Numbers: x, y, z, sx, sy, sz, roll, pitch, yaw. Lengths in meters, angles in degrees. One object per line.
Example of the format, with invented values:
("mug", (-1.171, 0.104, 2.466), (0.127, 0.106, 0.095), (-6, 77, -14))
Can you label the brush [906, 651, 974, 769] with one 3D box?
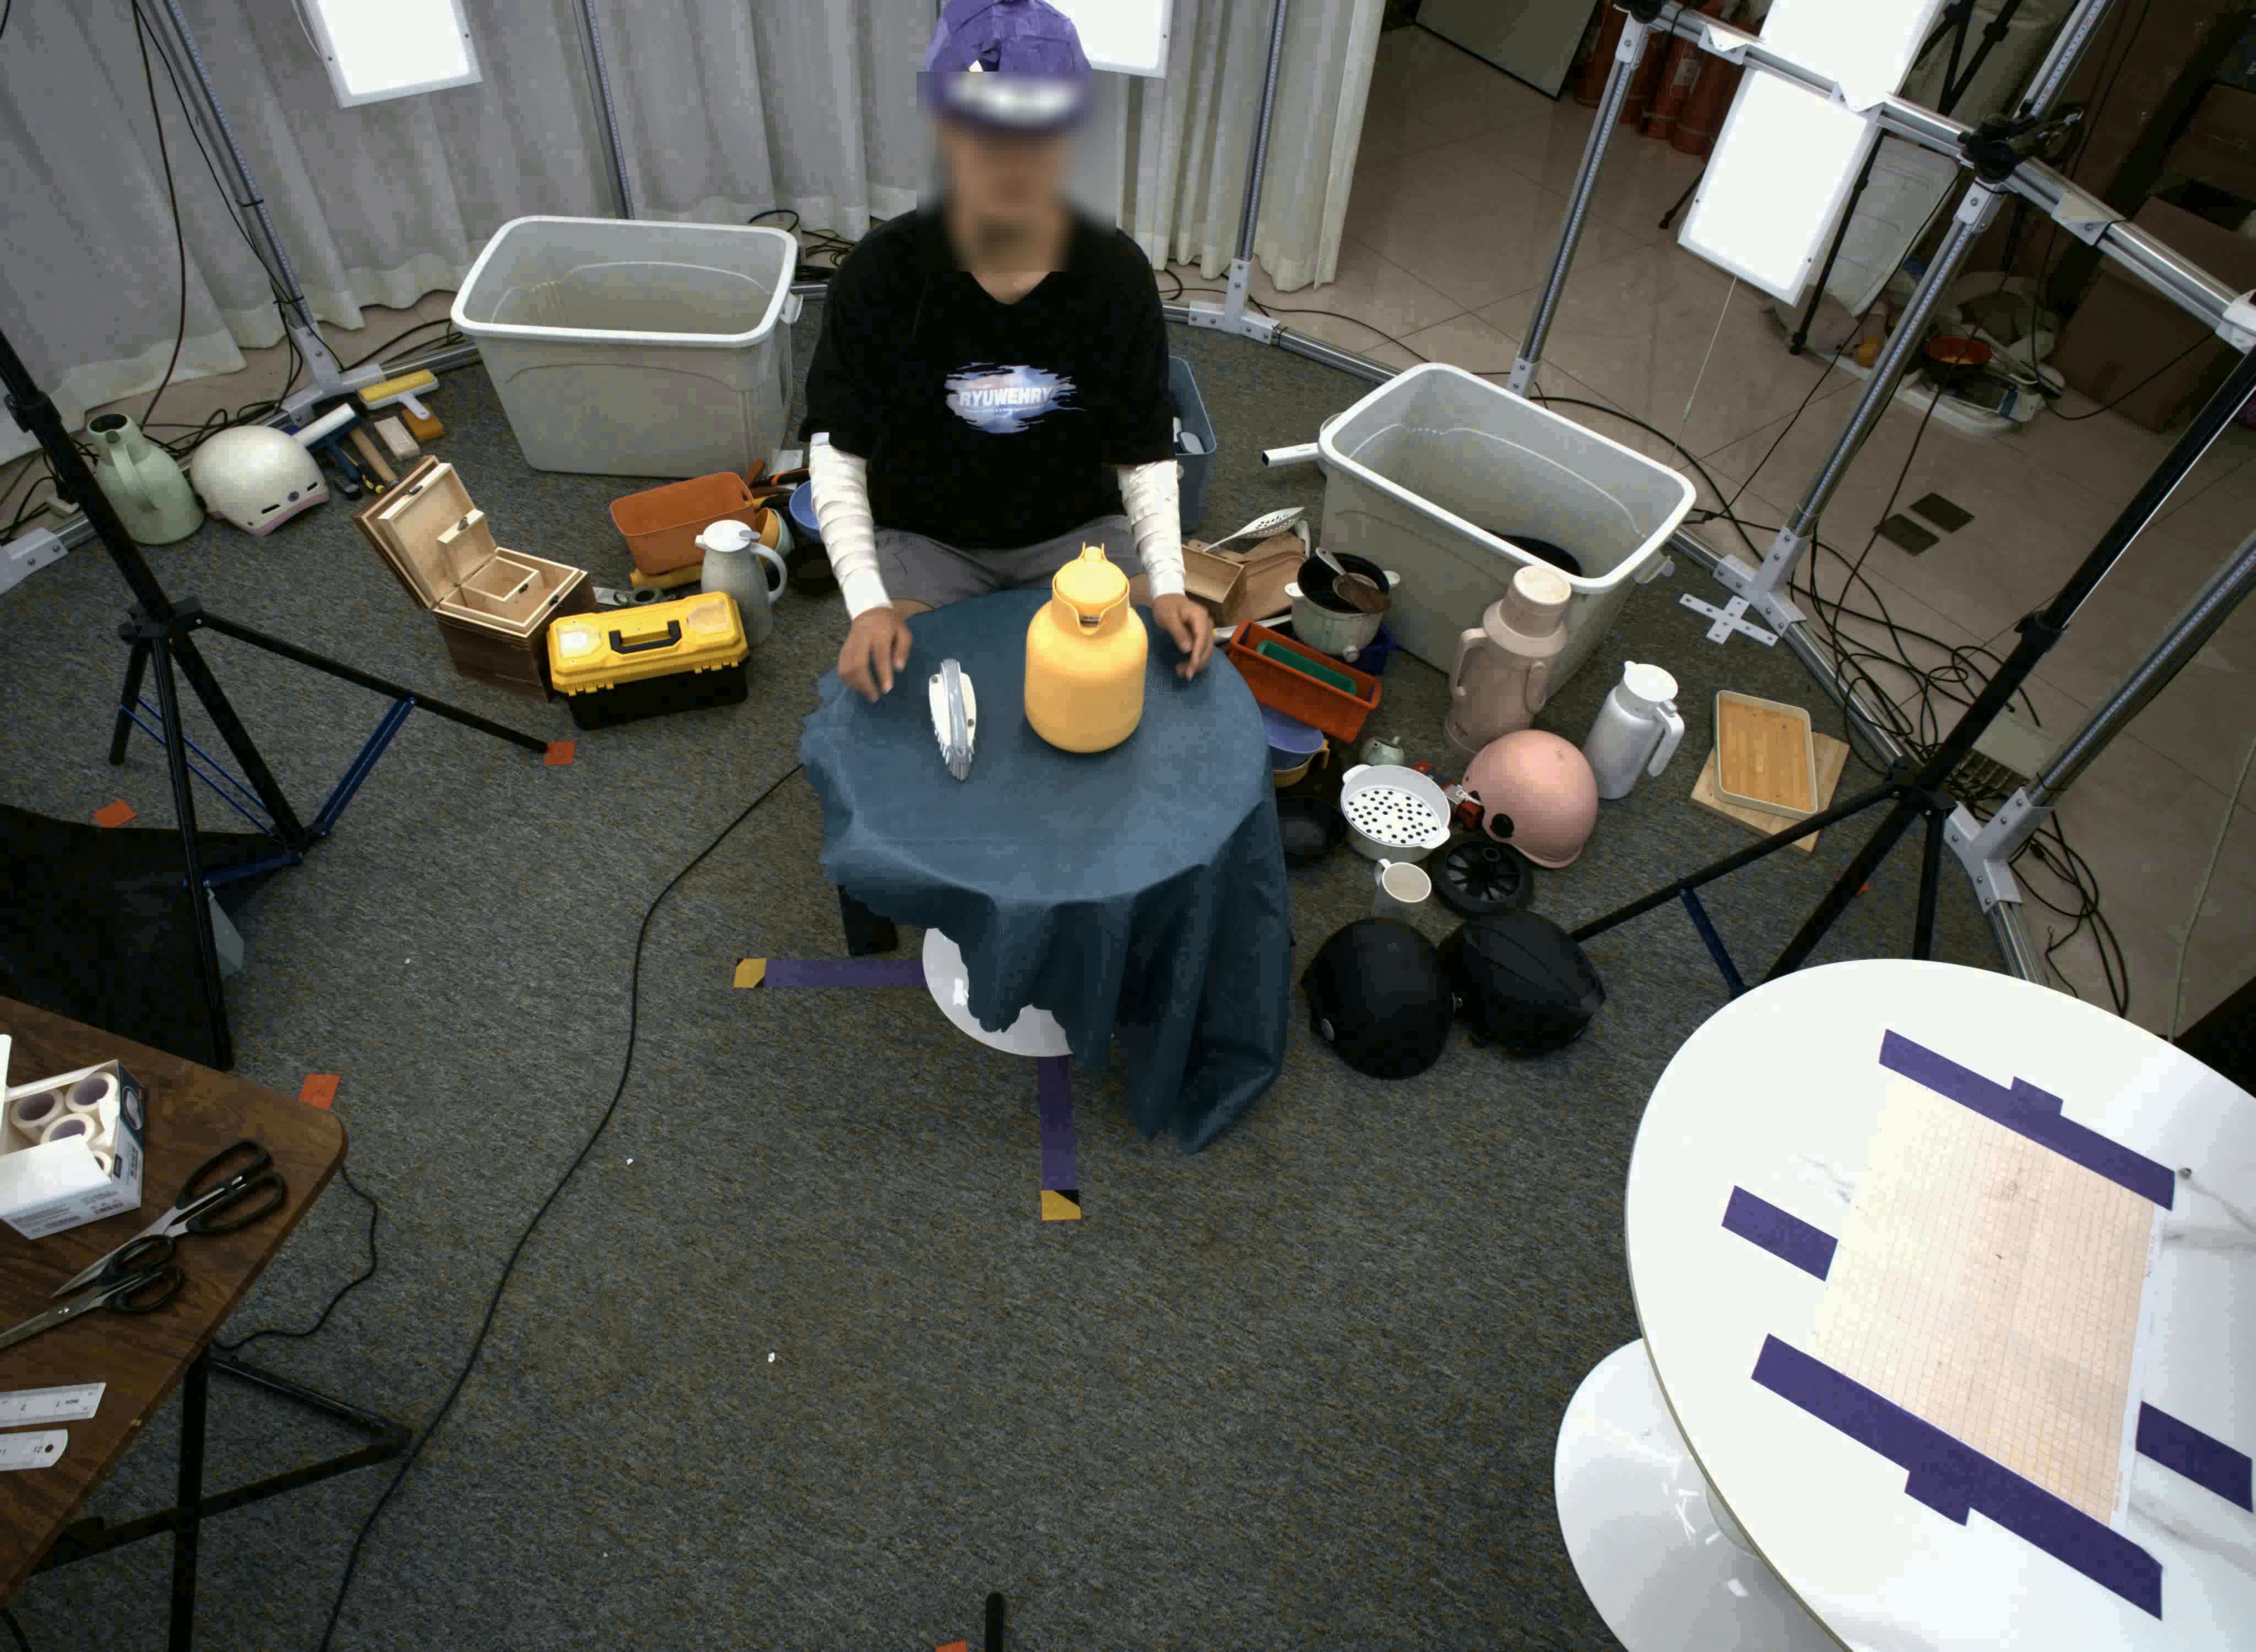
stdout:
("brush", (-0.248, -0.164, 1.736), (0.061, 0.092, 0.179), (-21, 60, -14))

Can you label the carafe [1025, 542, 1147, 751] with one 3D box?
("carafe", (-0.052, -0.246, 1.715), (0.163, 0.254, 0.207), (6, 51, -1))
